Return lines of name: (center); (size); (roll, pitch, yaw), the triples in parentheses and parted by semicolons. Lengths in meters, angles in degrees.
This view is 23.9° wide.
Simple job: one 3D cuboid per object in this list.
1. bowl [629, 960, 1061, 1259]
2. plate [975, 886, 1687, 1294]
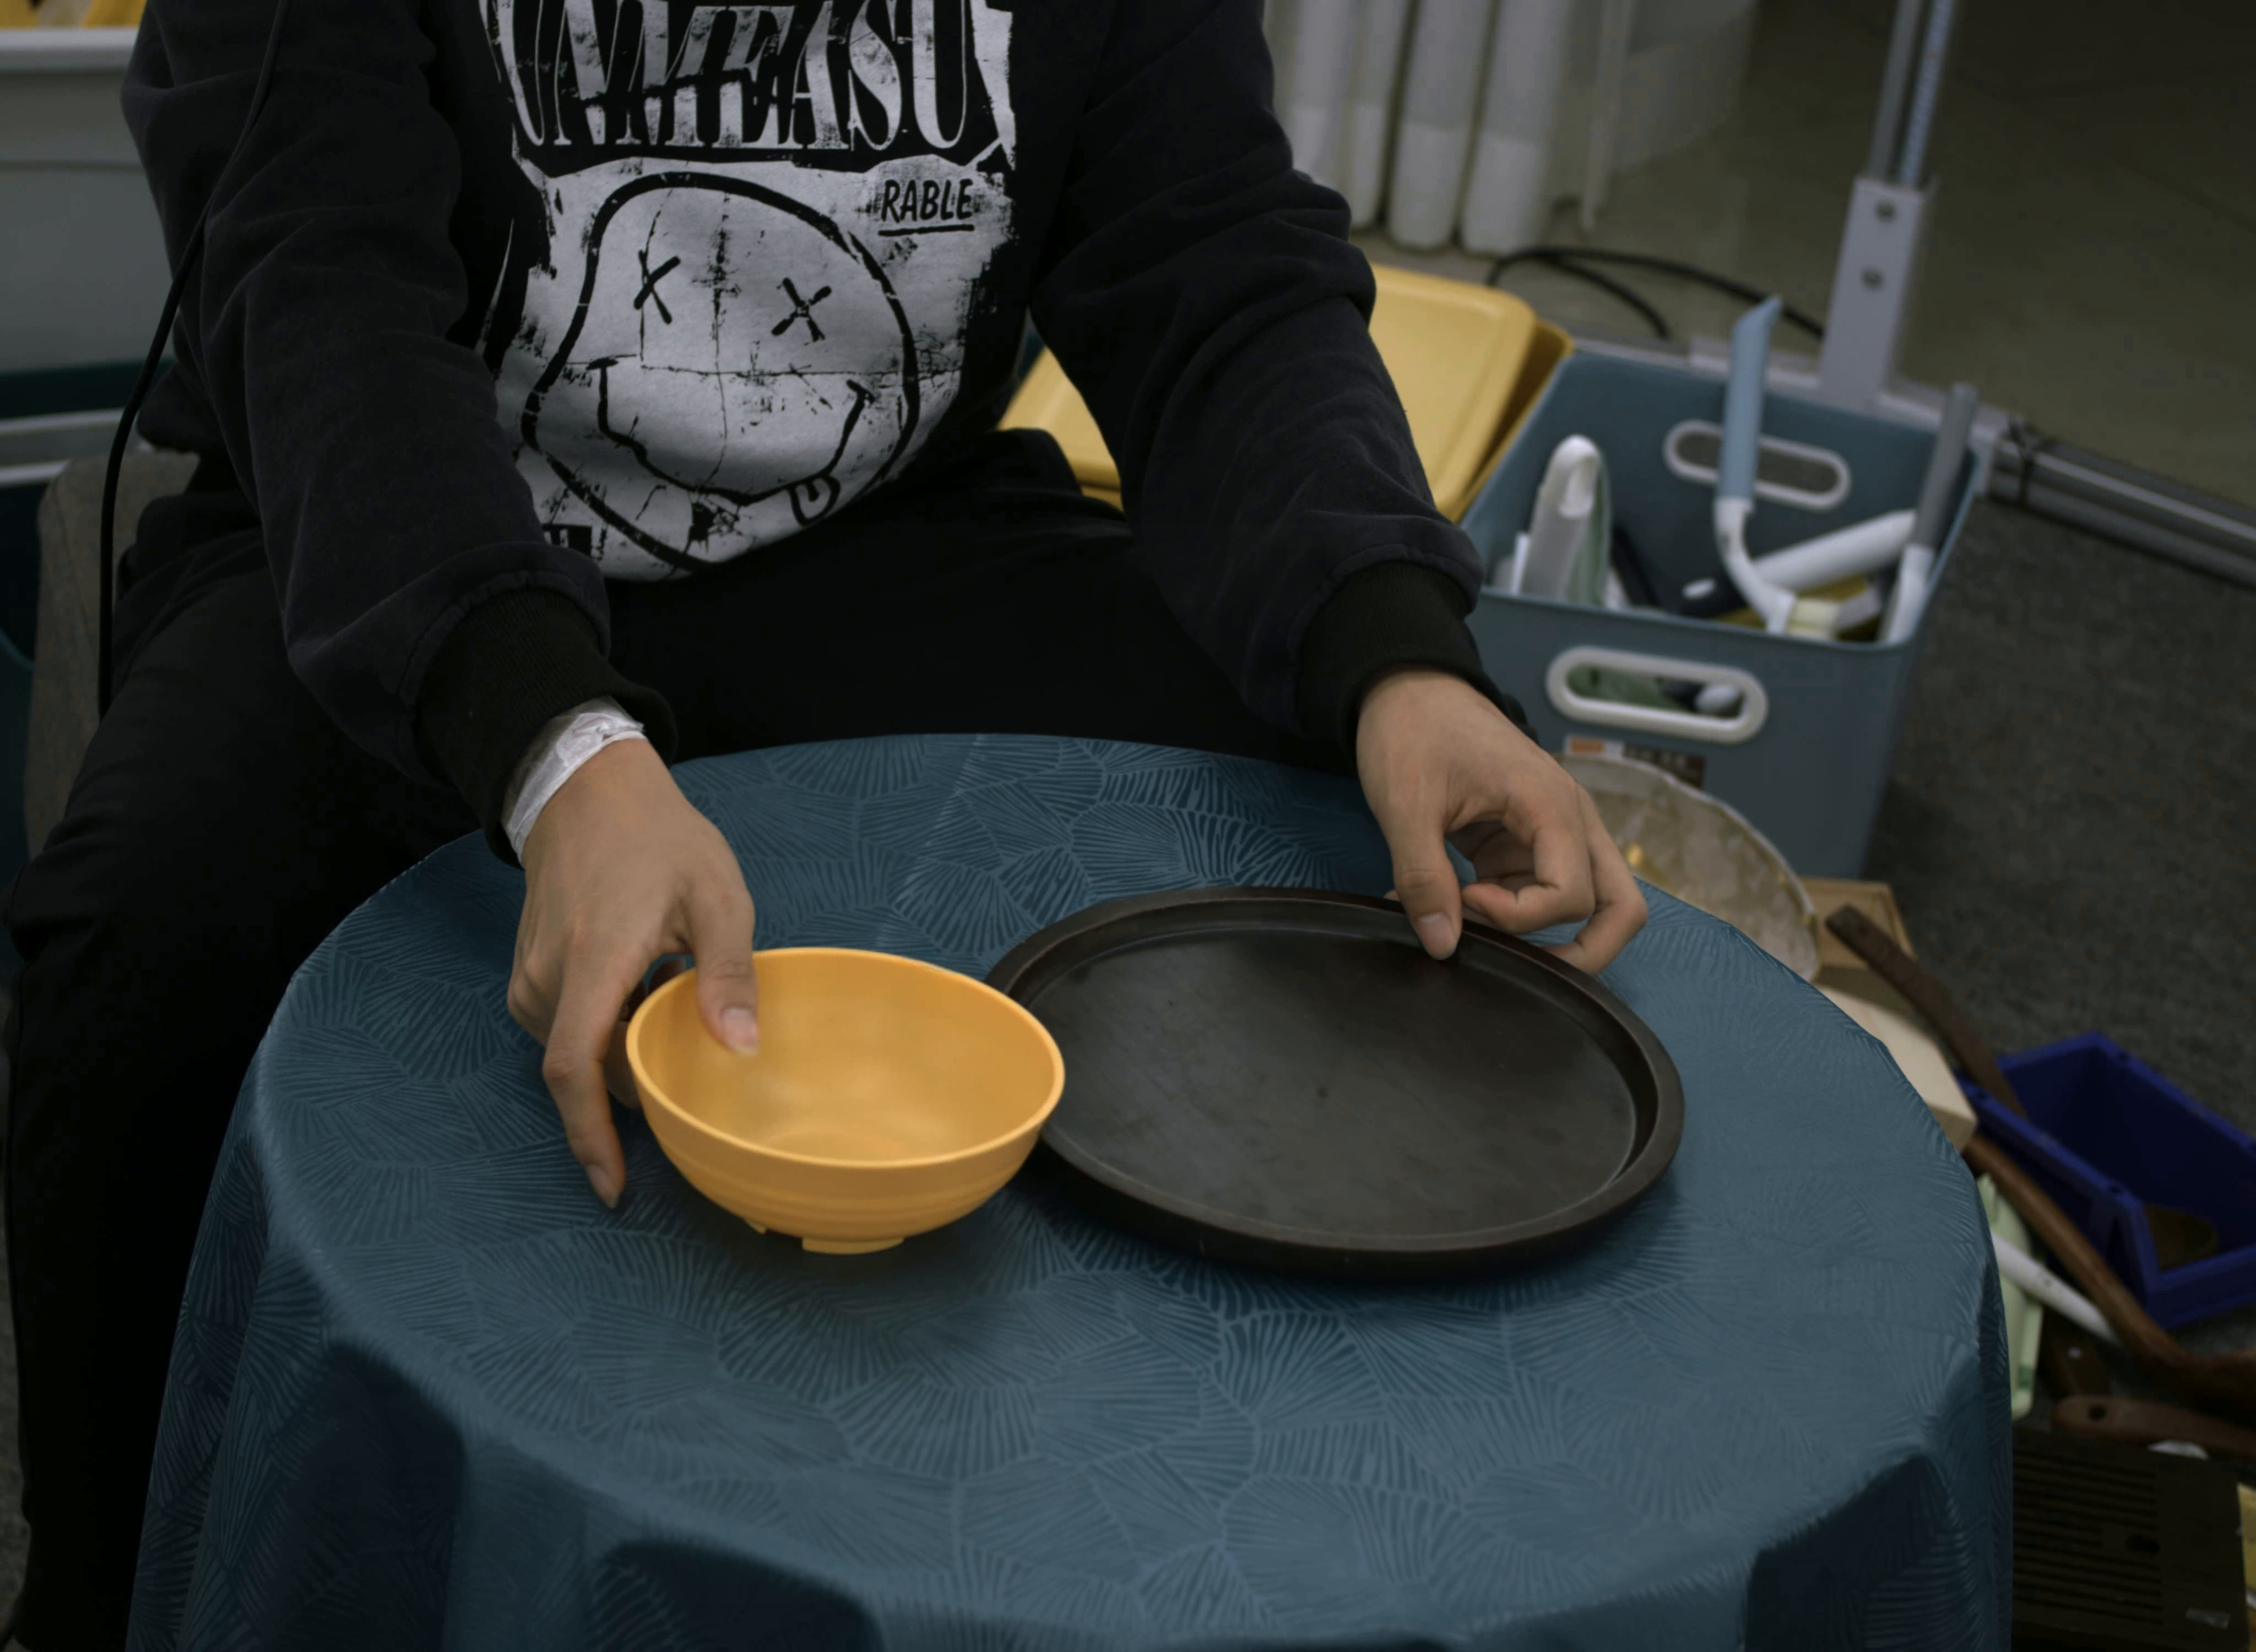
bowl: (-0.096, 0.102, 1.760); (0.145, 0.060, 0.146); (6, 24, -3)
plate: (0.069, 0.090, 1.858); (0.254, 0.029, 0.256); (3, 27, -2)
